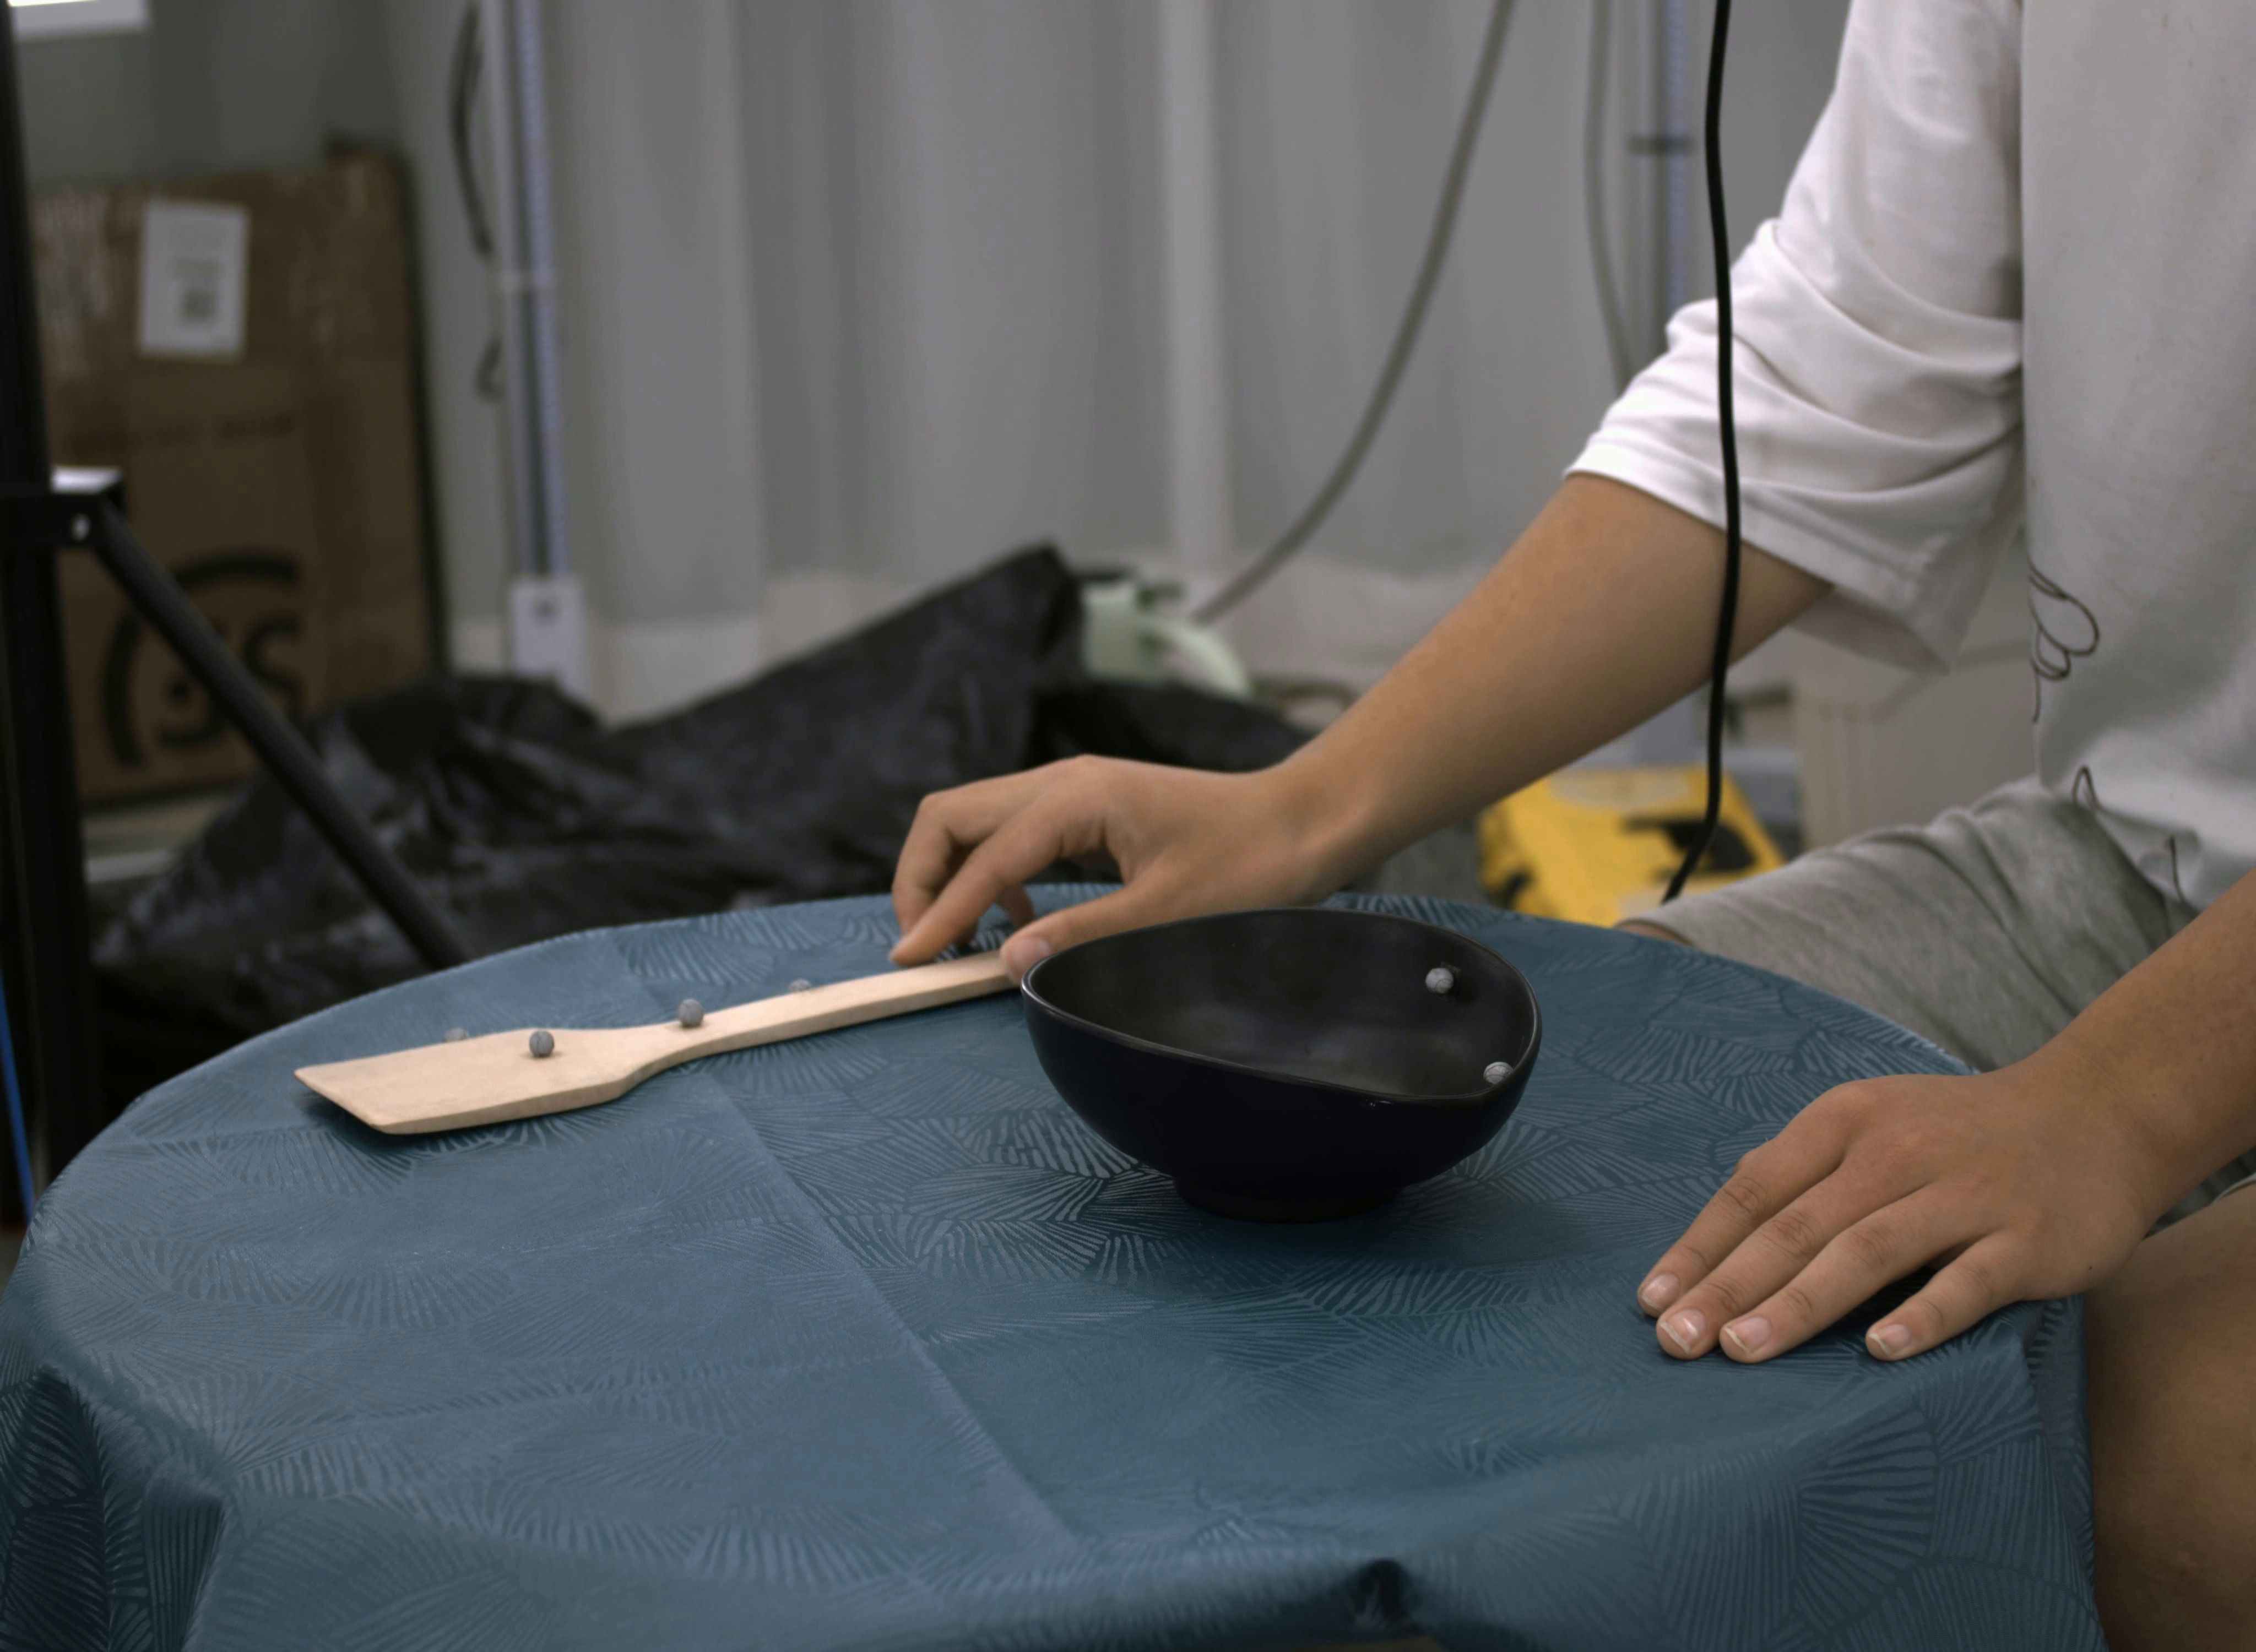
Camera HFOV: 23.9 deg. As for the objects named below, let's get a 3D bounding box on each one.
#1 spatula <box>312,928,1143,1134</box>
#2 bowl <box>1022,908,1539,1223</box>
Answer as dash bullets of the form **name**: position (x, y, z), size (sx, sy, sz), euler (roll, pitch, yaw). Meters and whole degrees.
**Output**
- **spatula**: position (-0.118, 0.063, 1.719), size (0.286, 0.010, 0.074), euler (-11, 17, -28)
- **bowl**: position (0.046, 0.074, 1.554), size (0.134, 0.067, 0.174), euler (-16, 22, -41)
